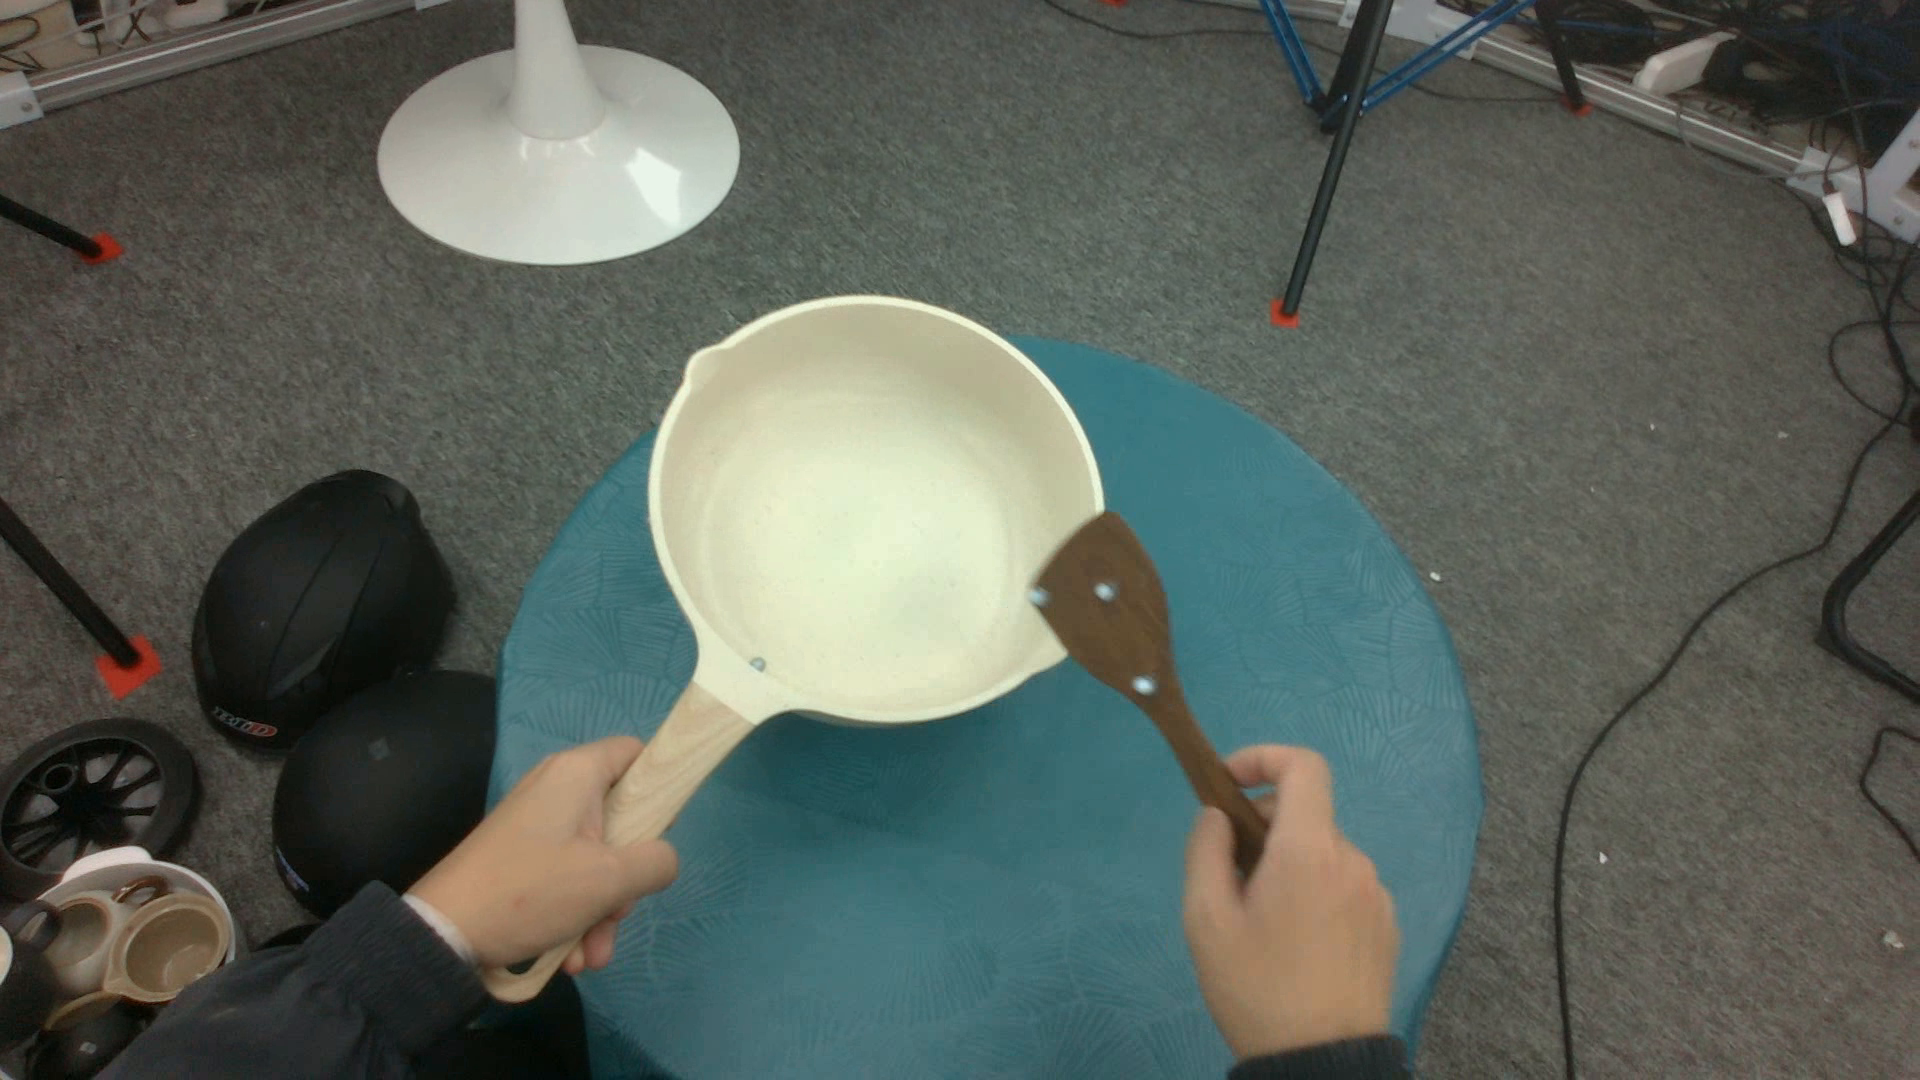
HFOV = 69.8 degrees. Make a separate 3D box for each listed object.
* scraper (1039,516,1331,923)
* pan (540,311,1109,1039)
[{"bbox_3d":[0.110,0.087,0.665,0.011,0.075,0.211,-1,52,-48],"label":"scraper"},{"bbox_3d":[-0.088,0.067,0.748,0.263,0.101,0.436,32,65,0],"label":"pan"}]
